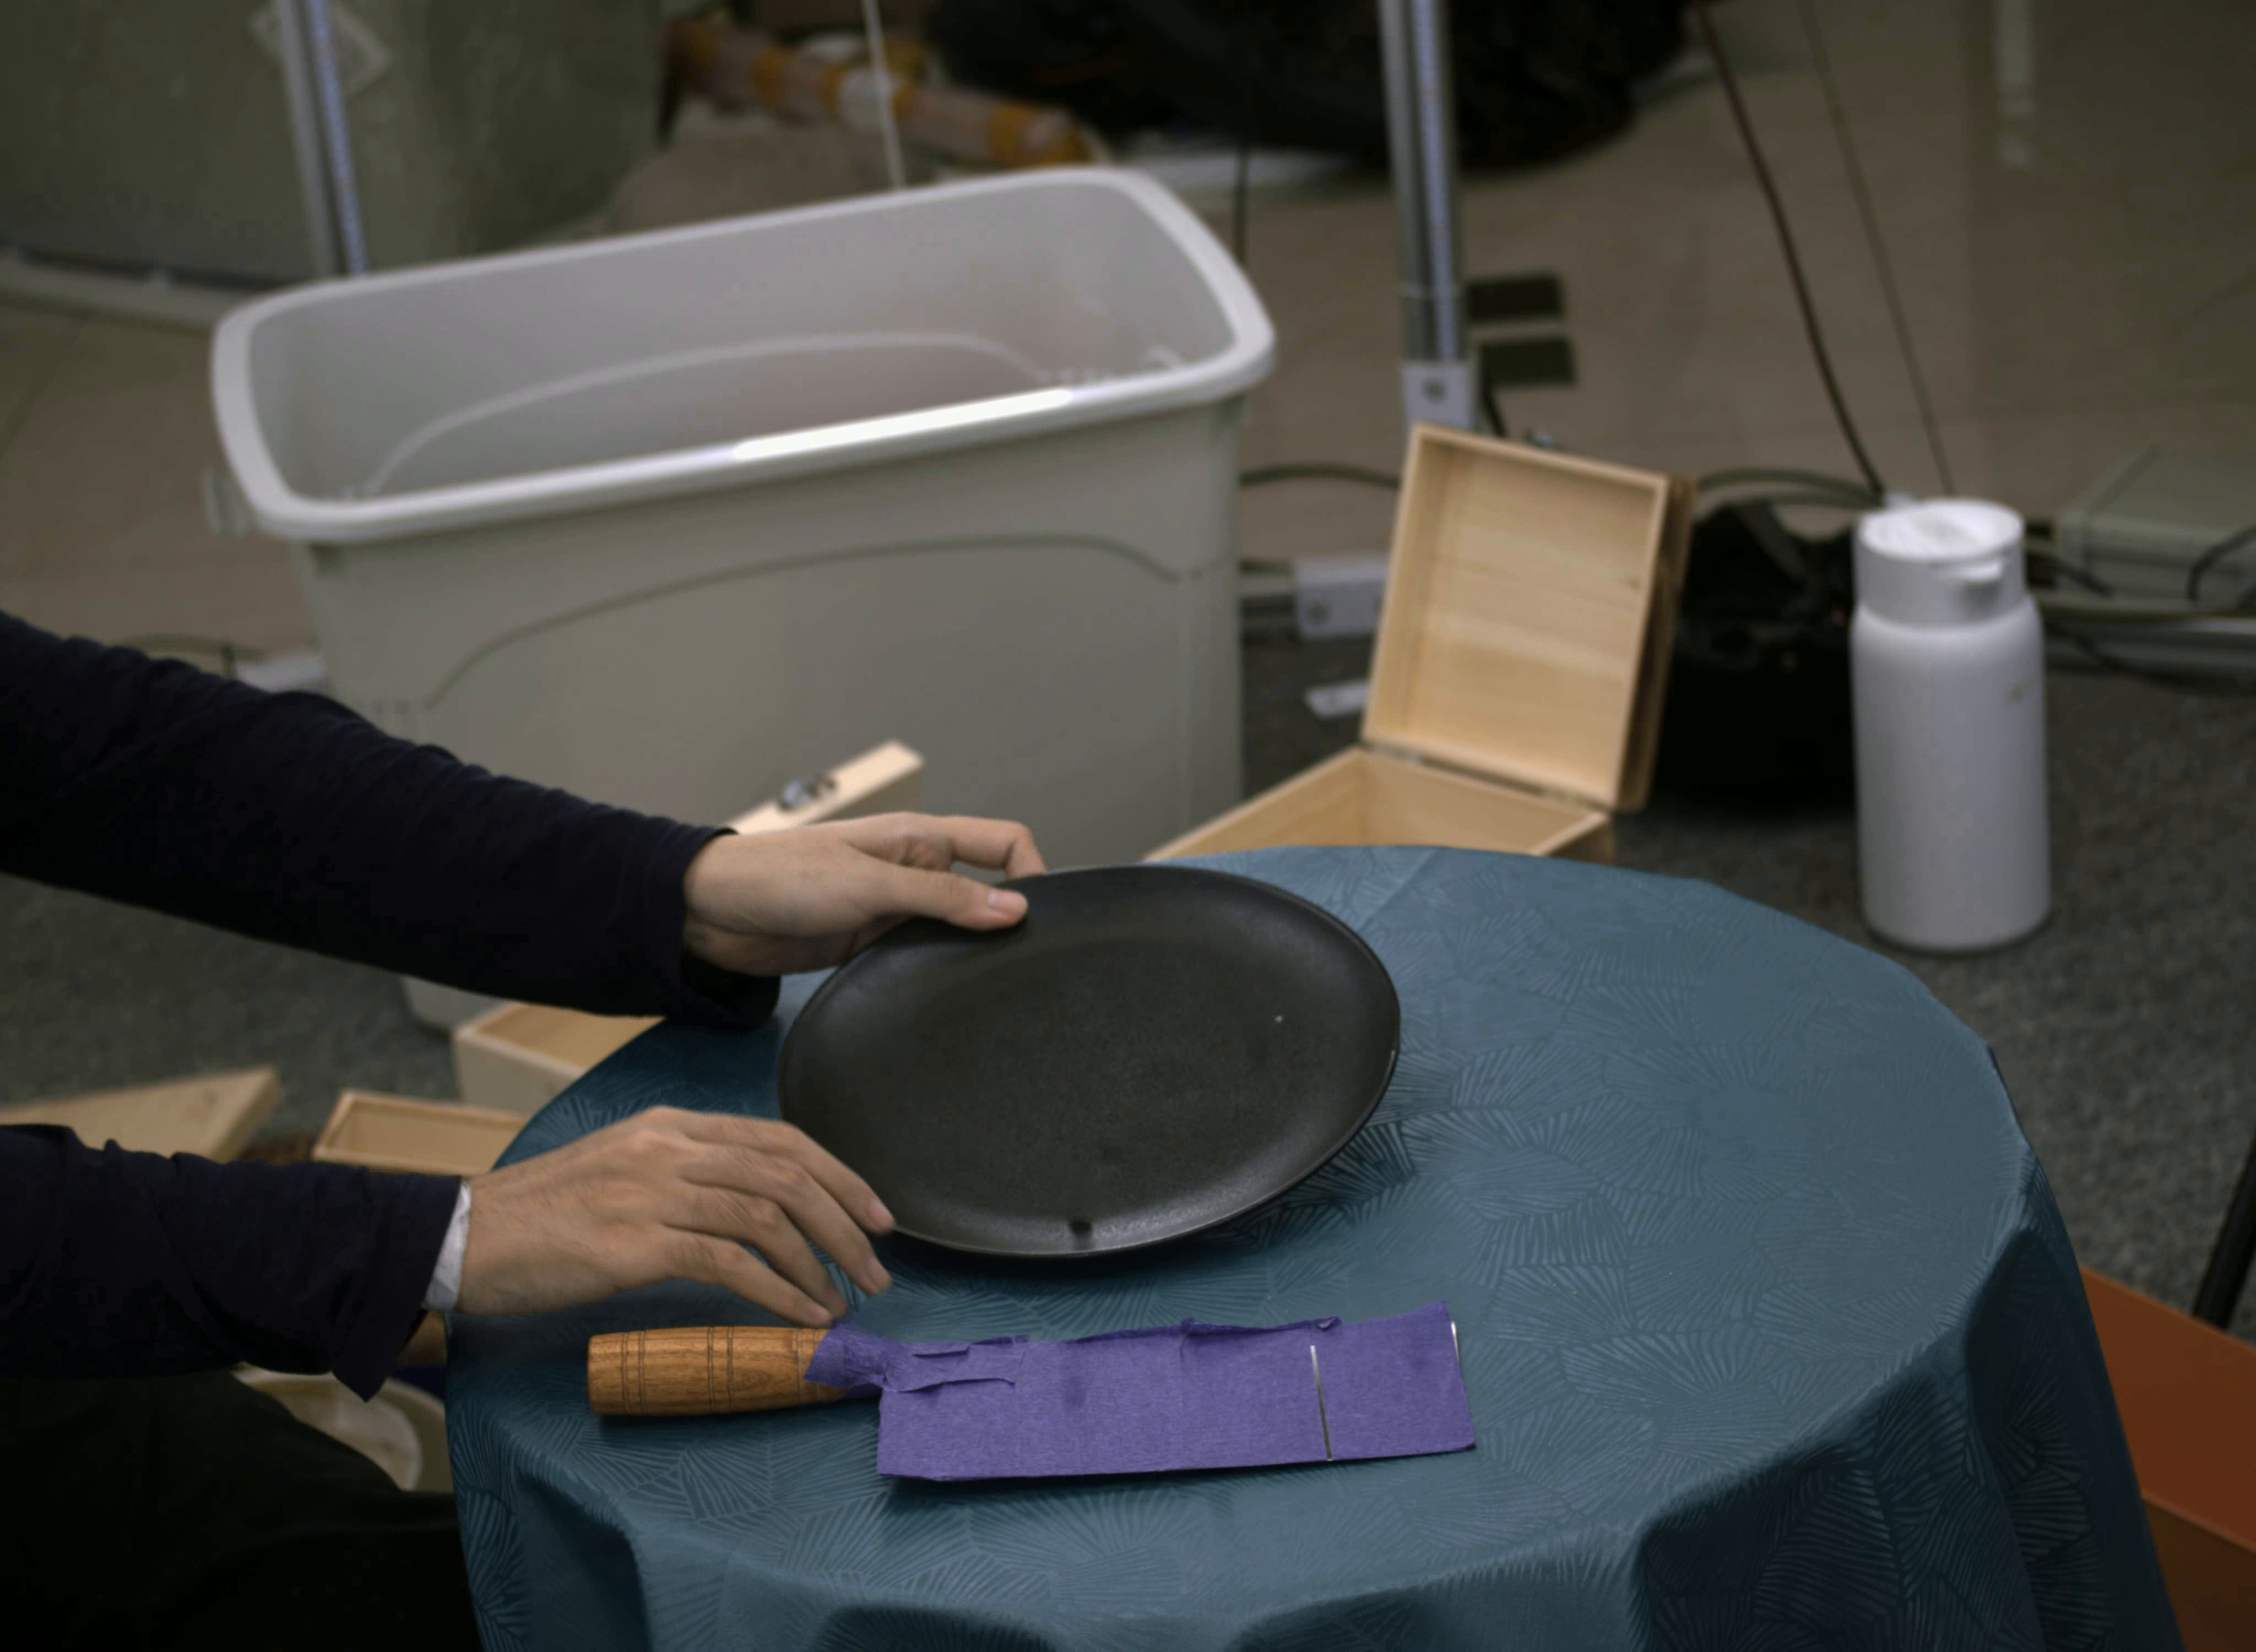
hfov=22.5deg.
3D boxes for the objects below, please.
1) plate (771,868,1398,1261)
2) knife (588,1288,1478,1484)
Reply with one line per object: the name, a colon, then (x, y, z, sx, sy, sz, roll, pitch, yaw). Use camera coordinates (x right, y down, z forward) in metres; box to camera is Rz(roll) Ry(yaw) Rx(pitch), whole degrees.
plate: (-0.016, 0.095, 2.184, 0.244, 0.024, 0.240, -5, 36, 4)
knife: (-0.036, 0.199, 1.998, 0.315, 0.033, 0.102, -5, 25, 1)
